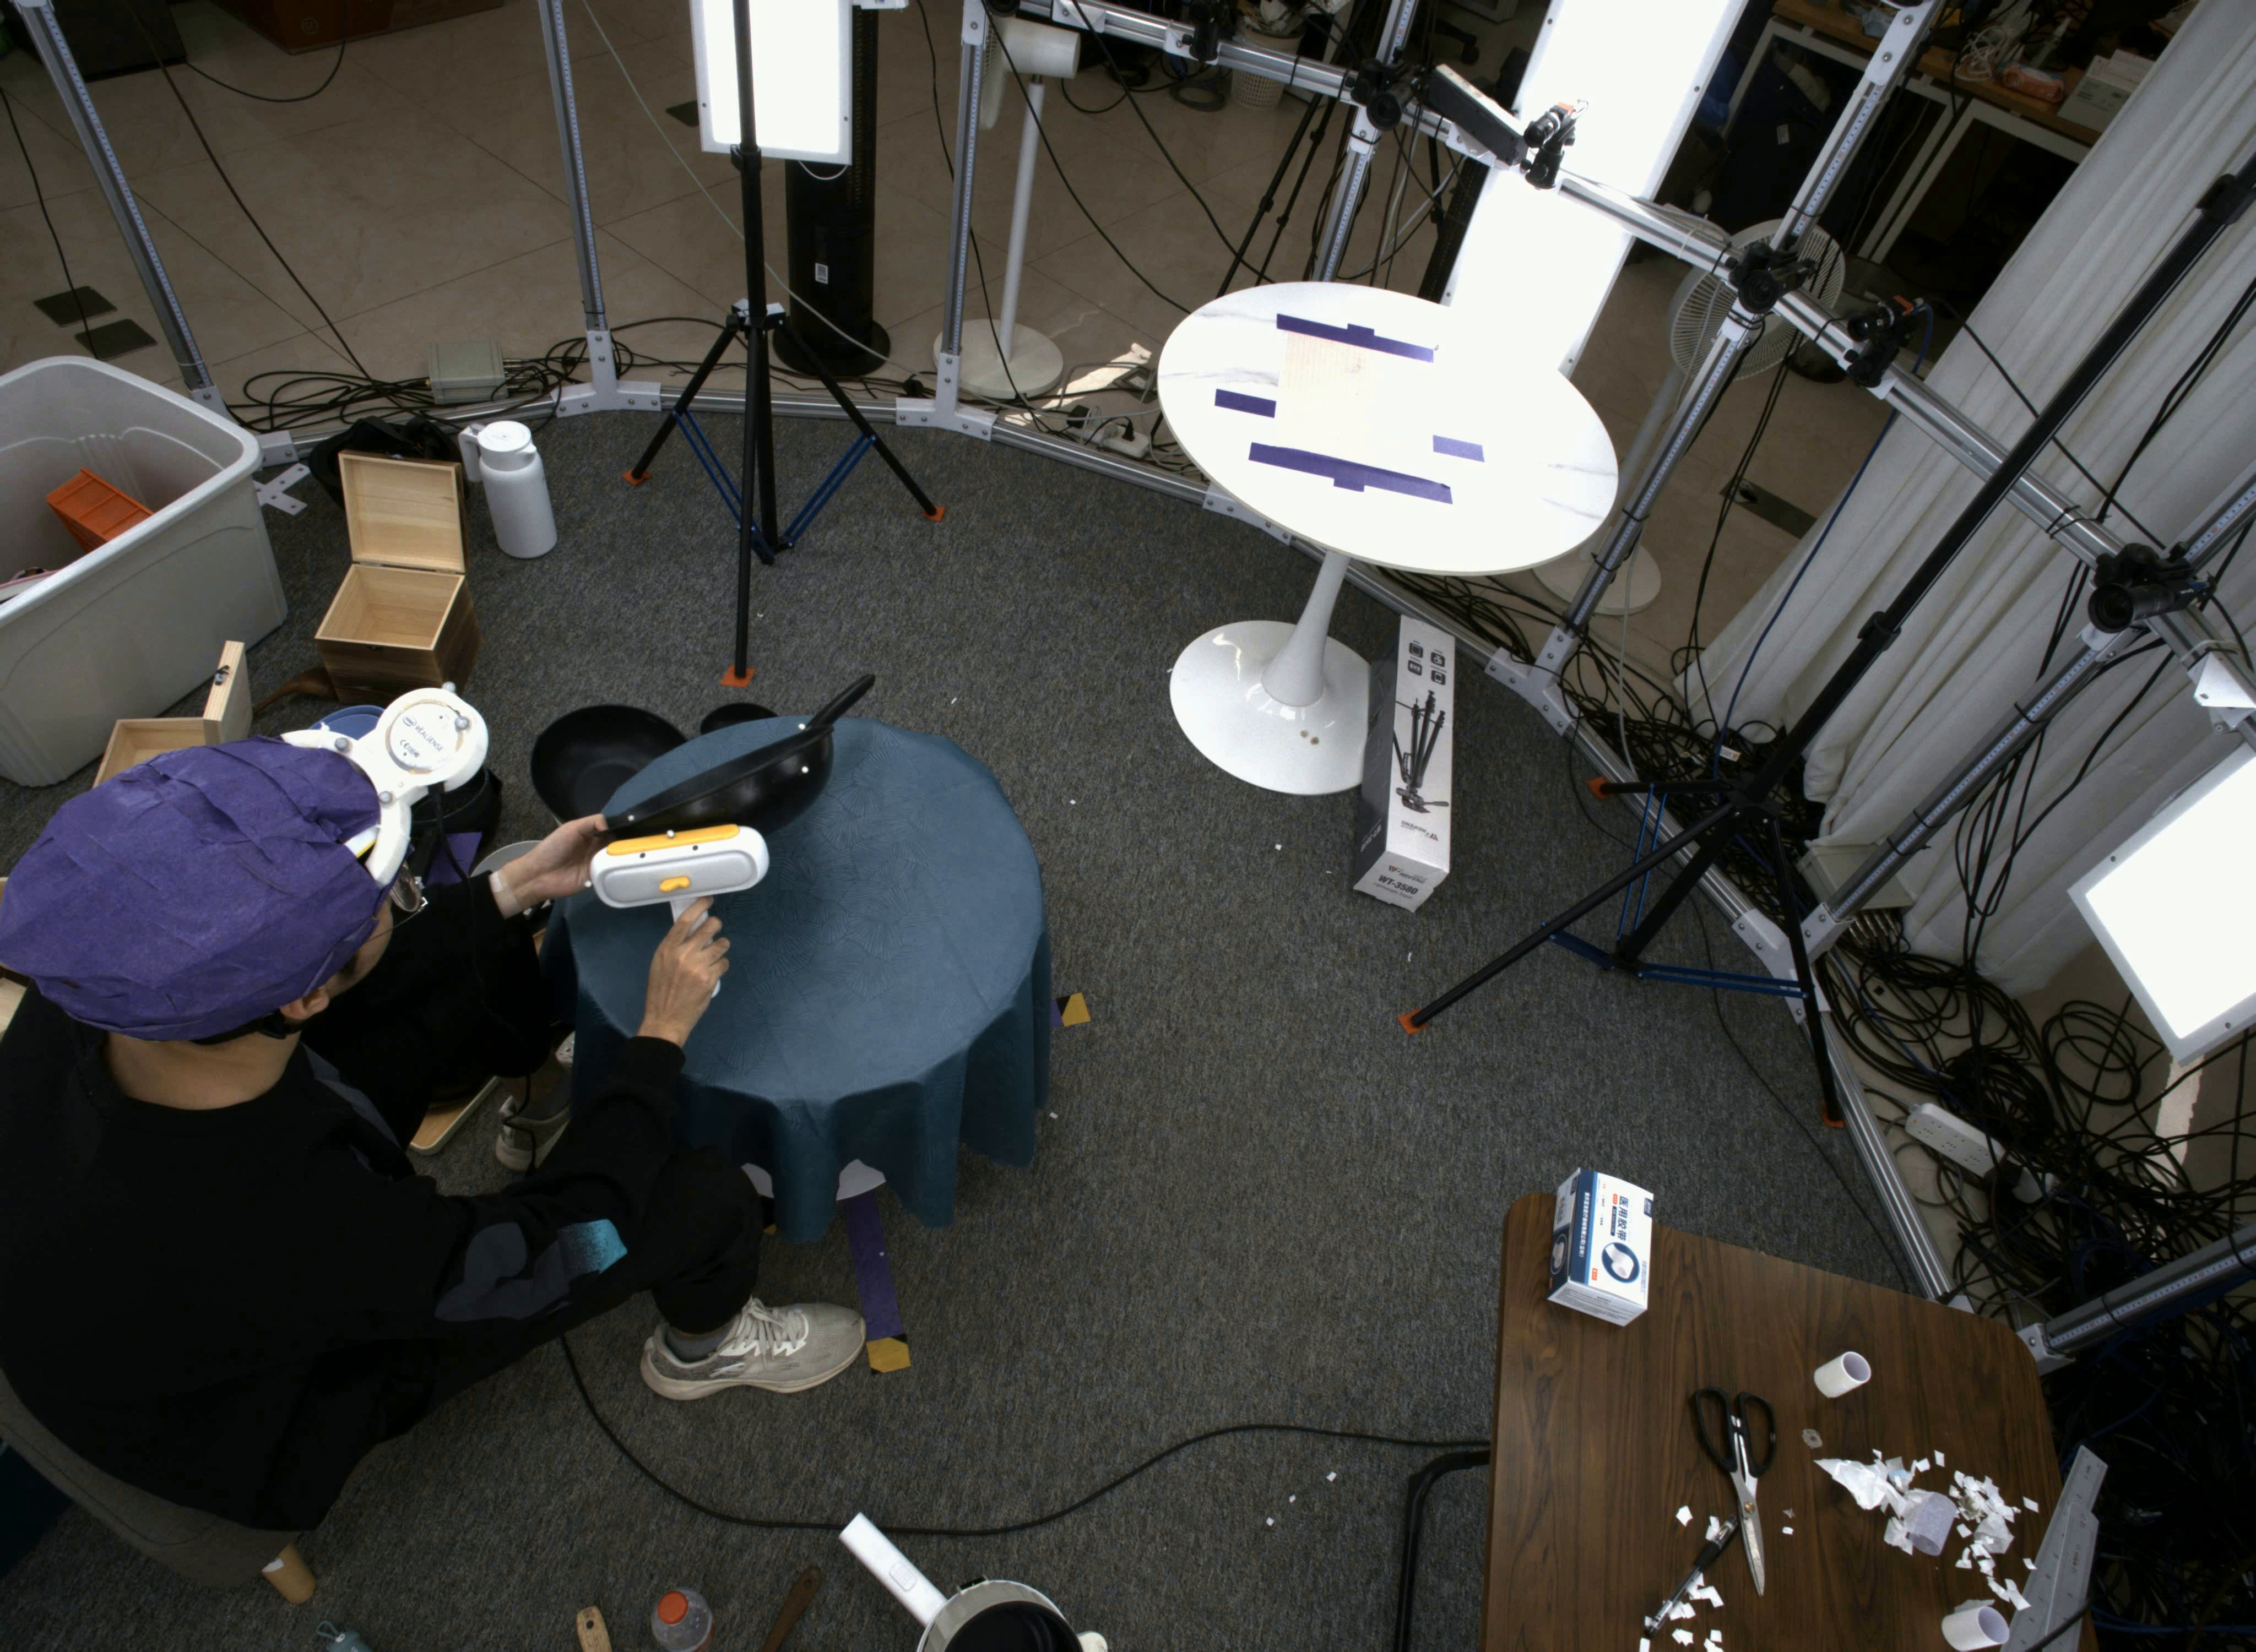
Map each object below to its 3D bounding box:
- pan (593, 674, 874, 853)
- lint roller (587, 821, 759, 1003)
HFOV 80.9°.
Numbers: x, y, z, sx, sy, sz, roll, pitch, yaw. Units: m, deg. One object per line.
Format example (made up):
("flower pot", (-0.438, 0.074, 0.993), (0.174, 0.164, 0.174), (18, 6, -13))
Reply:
("pan", (-0.452, -0.065, 1.619), (0.477, 0.302, 0.114), (-41, 114, -53))
("lint roller", (-0.493, 0.100, 1.438), (0.192, 0.199, 0.072), (-15, 25, -11))
